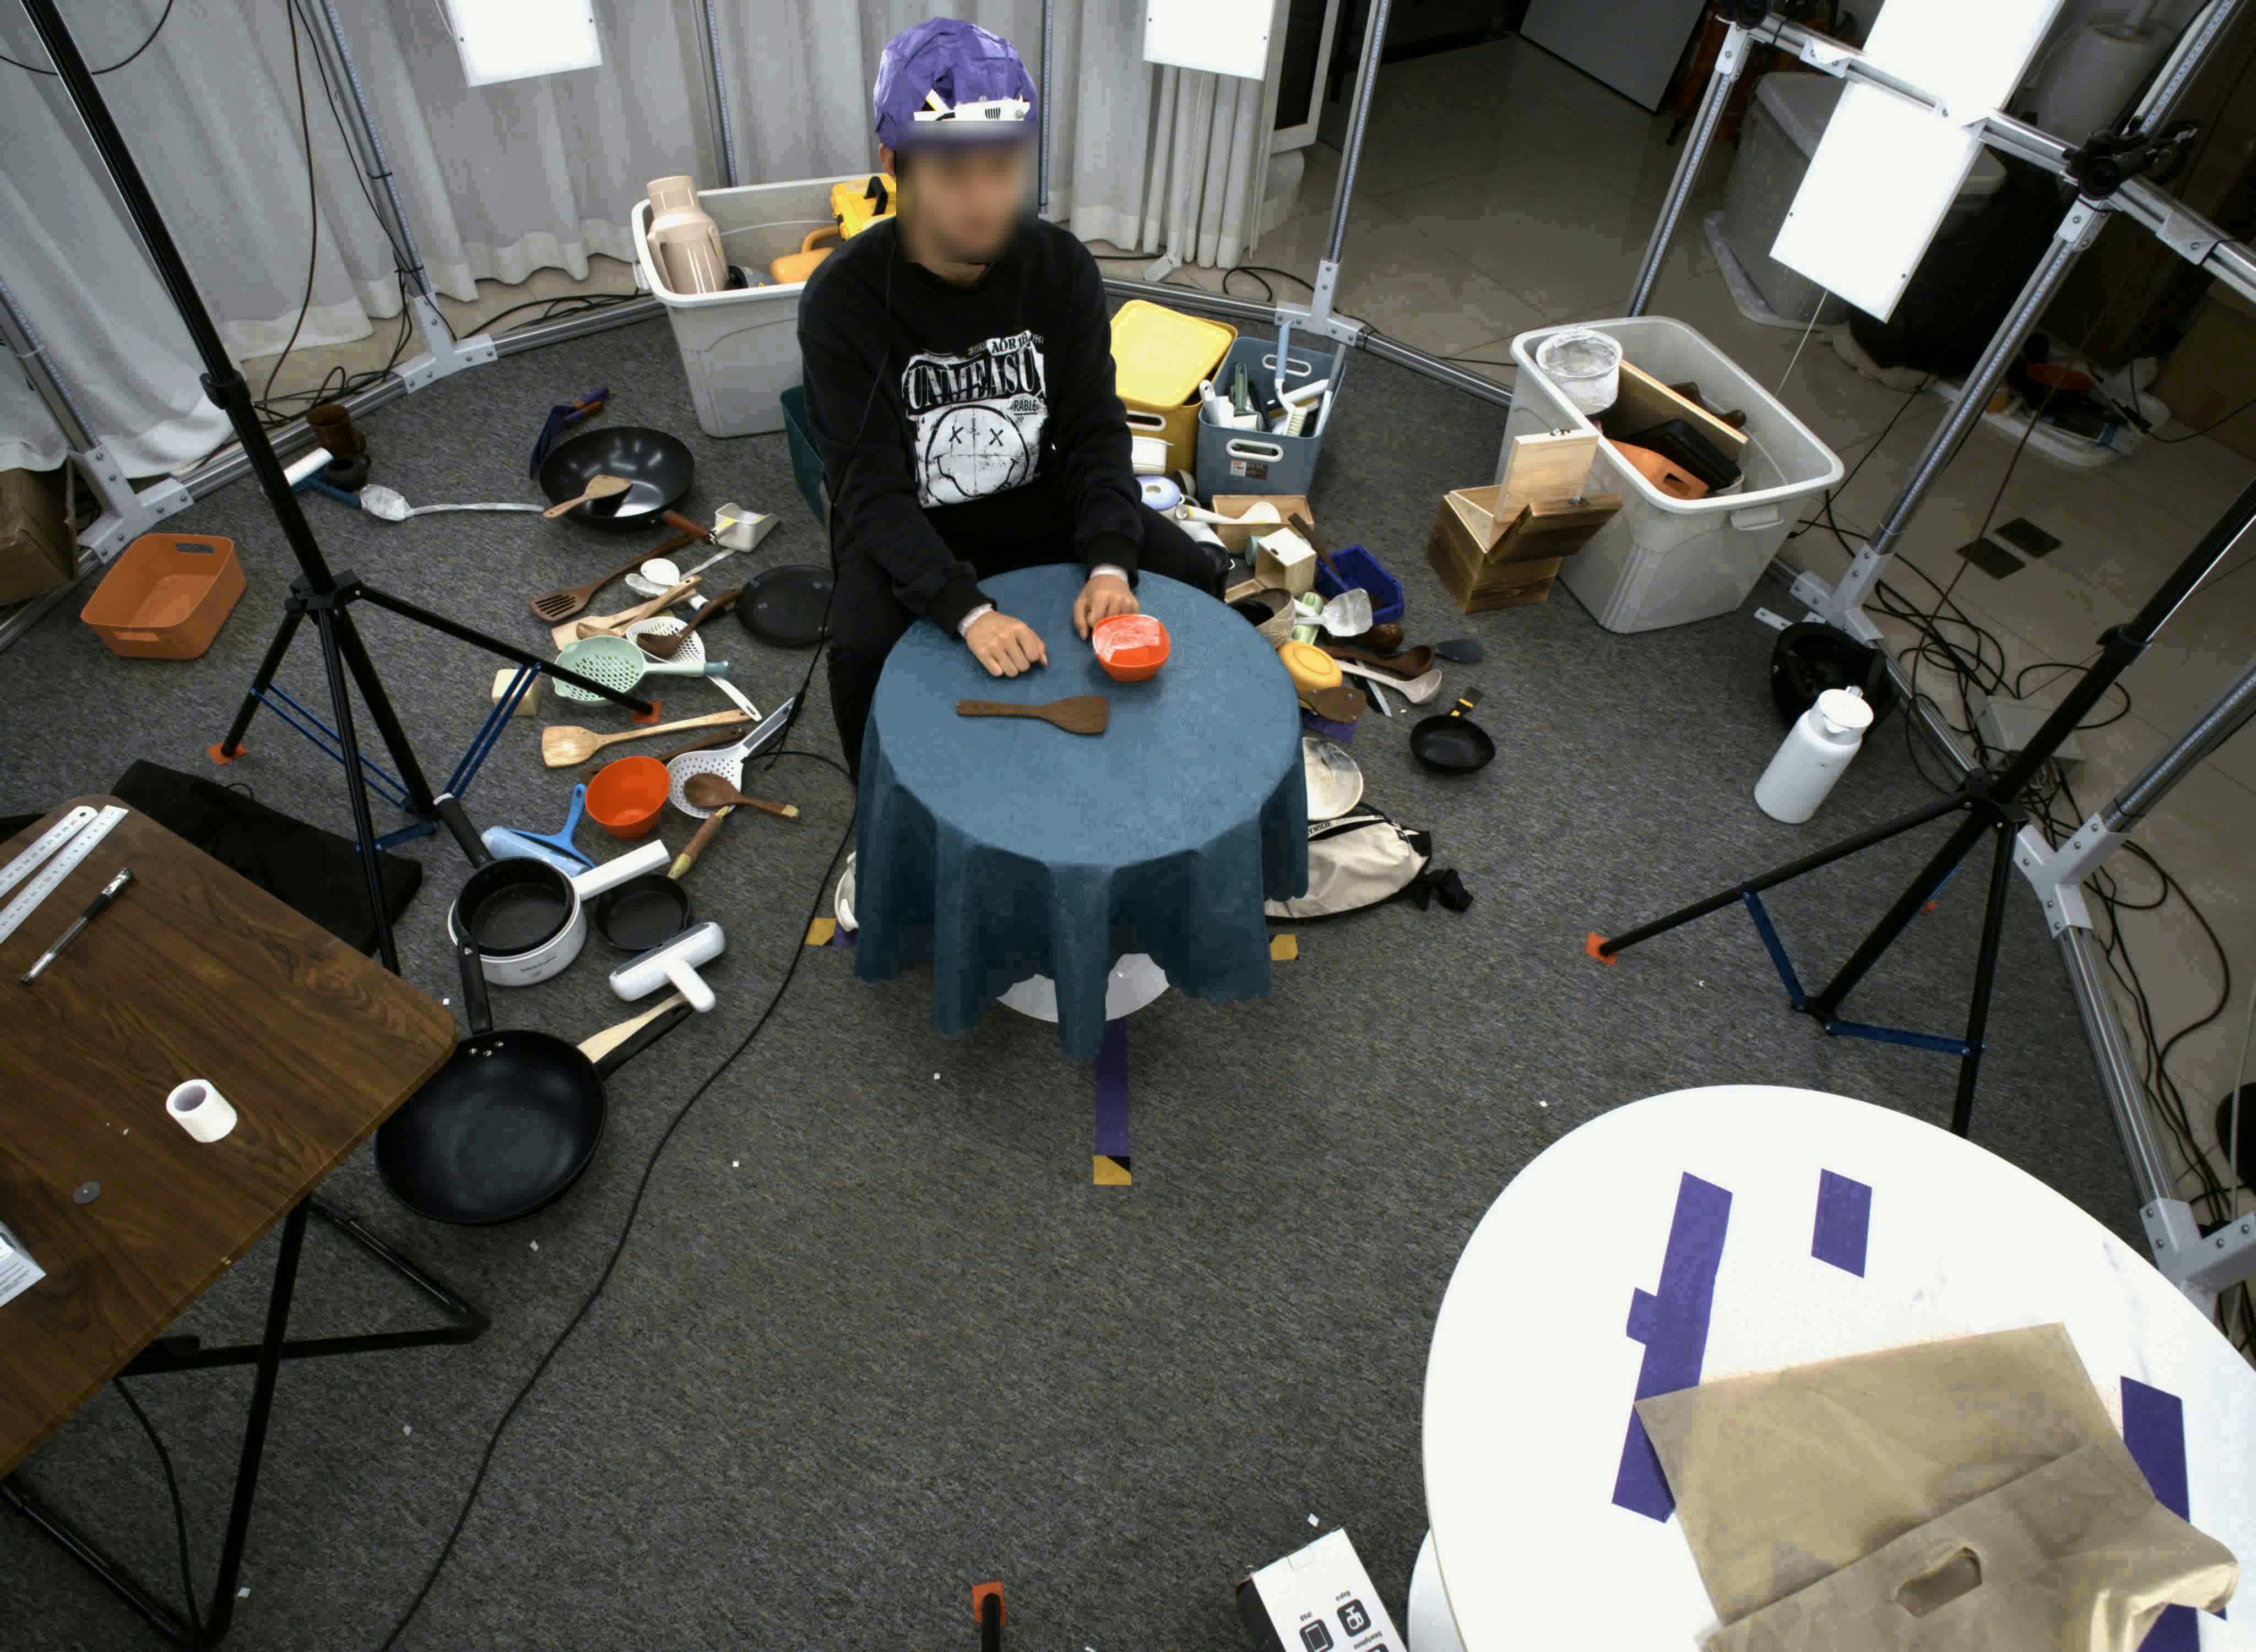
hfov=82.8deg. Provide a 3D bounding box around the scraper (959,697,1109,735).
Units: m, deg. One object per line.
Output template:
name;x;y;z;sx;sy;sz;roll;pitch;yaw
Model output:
scraper;-0.133;-0.160;1.809;0.211;0.010;0.078;3;48;0

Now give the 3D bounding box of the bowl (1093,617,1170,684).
bowl;0.004;-0.249;1.871;0.119;0.050;0.122;2;50;-2
